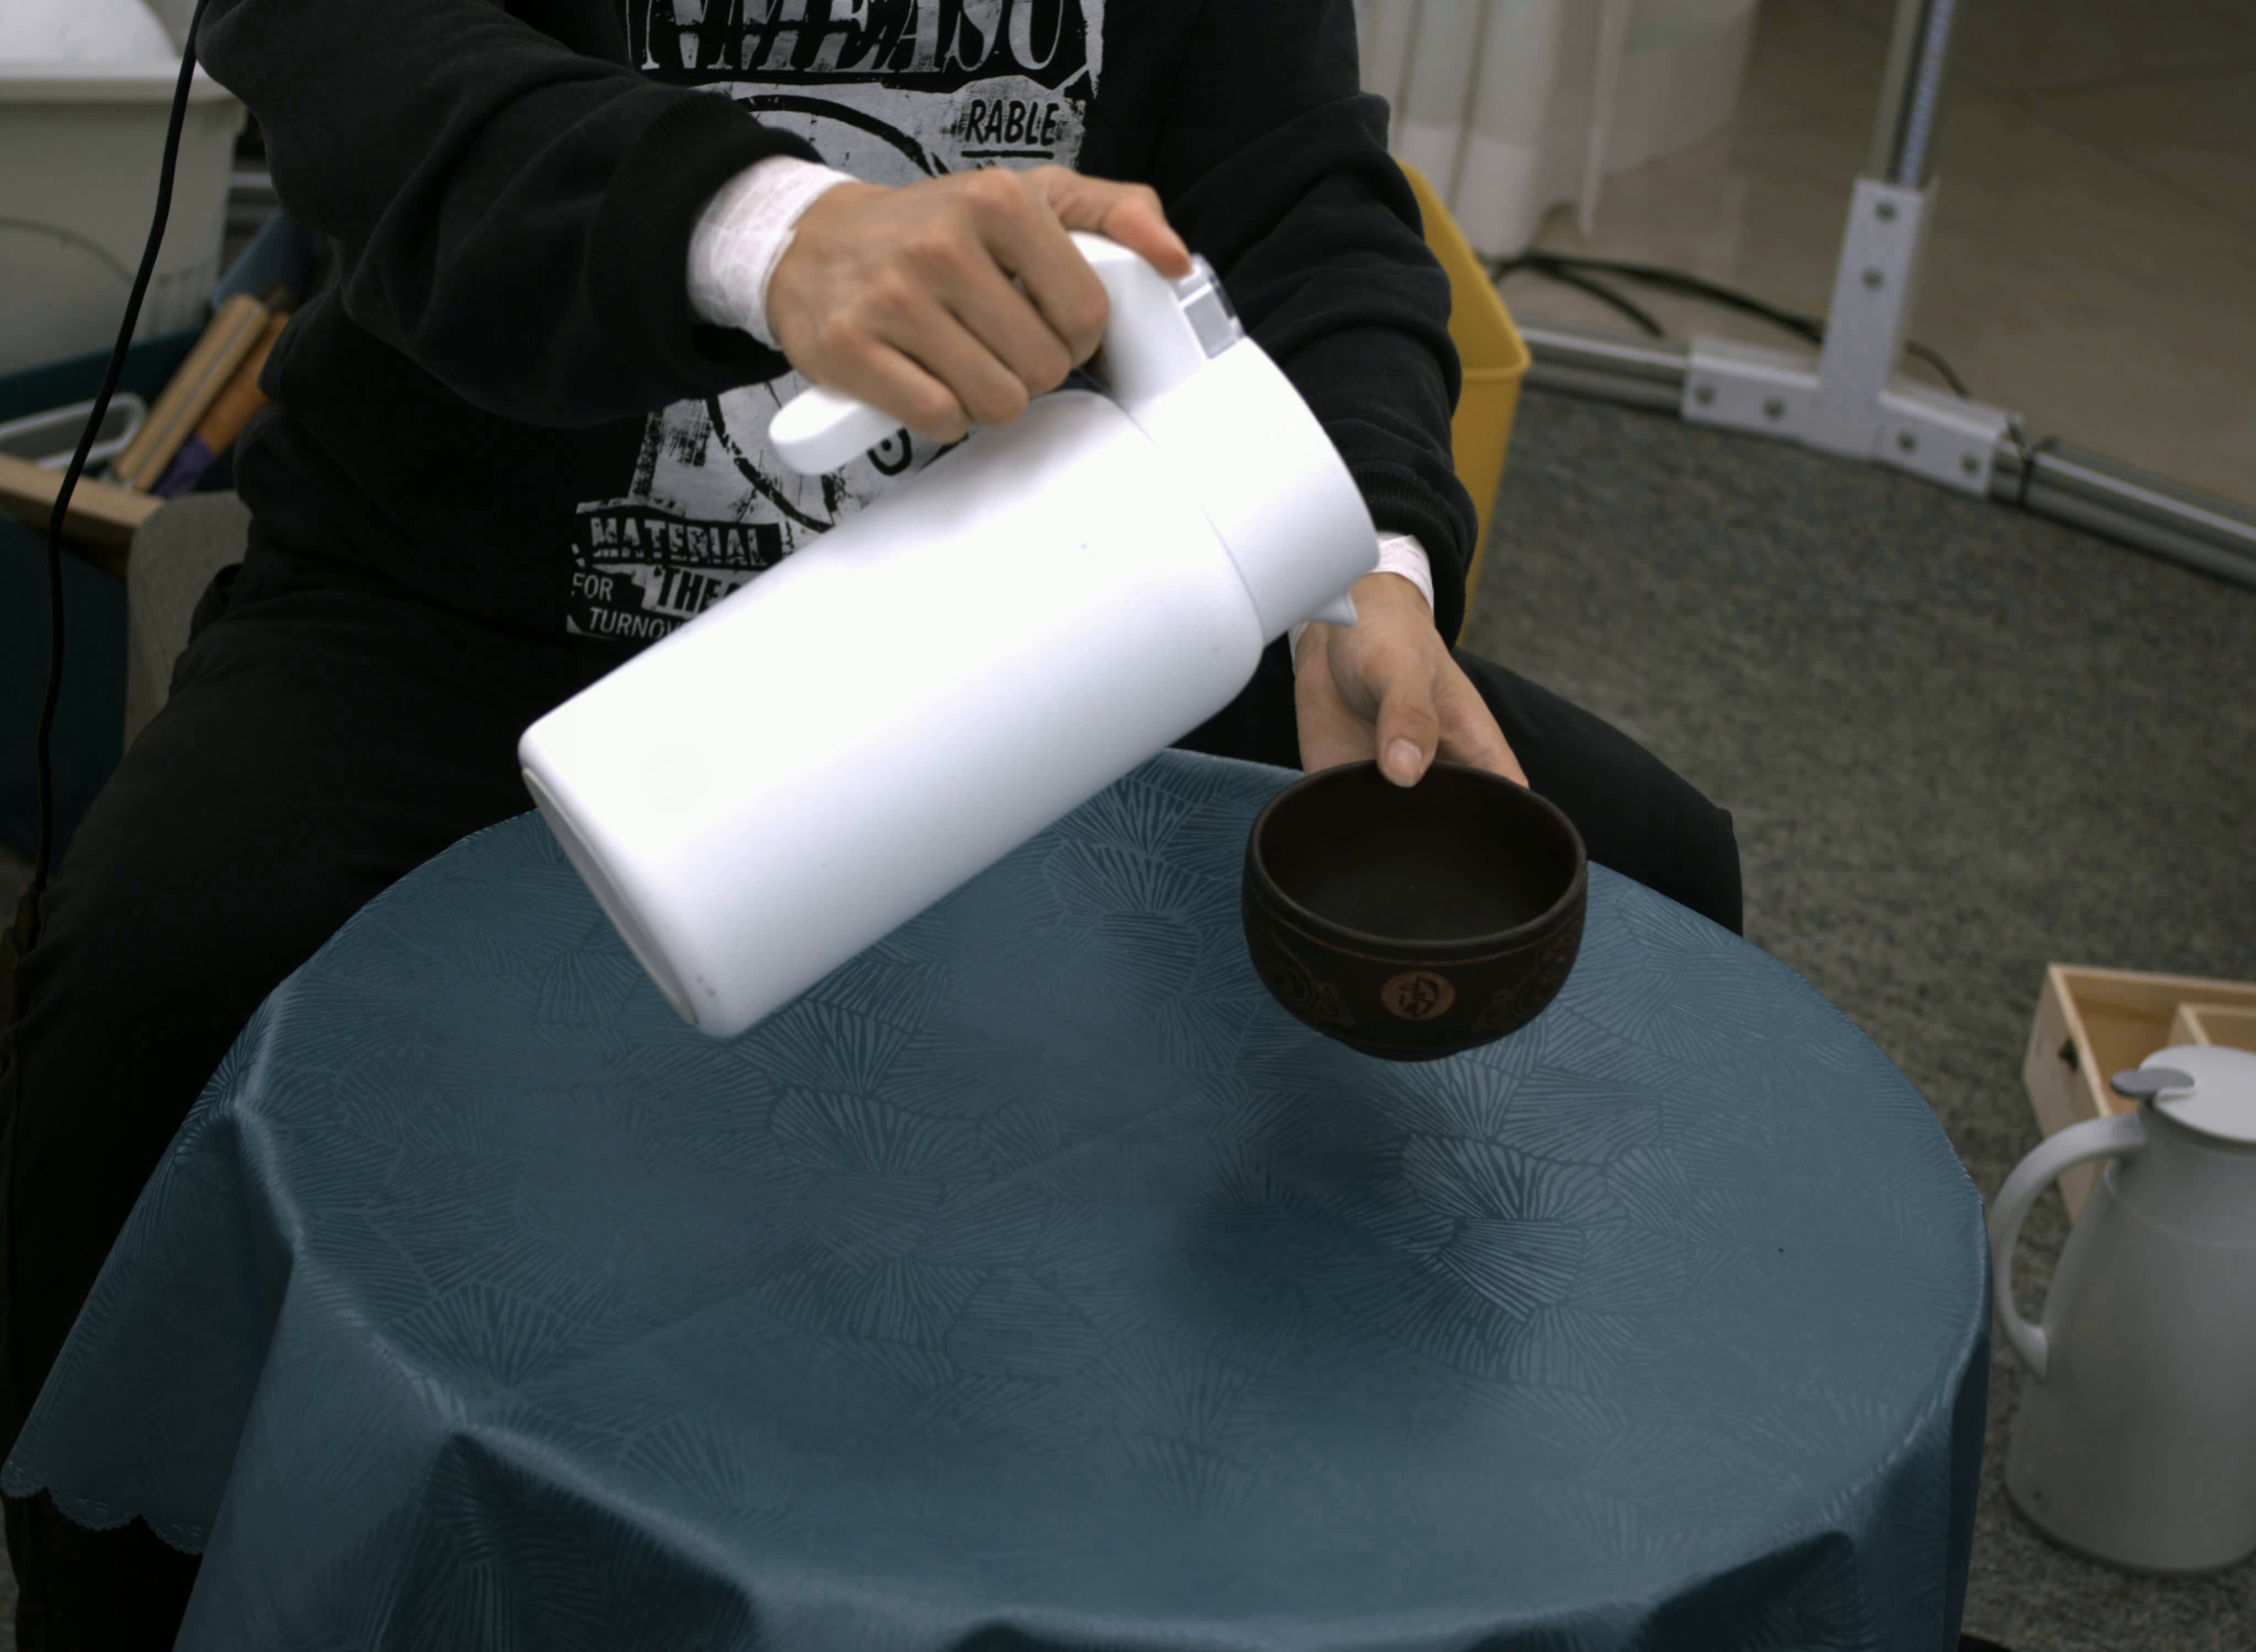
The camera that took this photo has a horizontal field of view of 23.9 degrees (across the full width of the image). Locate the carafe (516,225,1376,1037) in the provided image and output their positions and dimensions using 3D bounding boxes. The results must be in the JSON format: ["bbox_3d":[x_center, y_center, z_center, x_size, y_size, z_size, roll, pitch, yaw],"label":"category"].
[{"bbox_3d":[-0.062,-0.064,1.679,0.268,0.171,0.125,-33,31,-8],"label":"carafe"}]

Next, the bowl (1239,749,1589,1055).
[{"bbox_3d":[0.096,0.034,1.802,0.117,0.069,0.119,1,33,-1],"label":"bowl"}]
